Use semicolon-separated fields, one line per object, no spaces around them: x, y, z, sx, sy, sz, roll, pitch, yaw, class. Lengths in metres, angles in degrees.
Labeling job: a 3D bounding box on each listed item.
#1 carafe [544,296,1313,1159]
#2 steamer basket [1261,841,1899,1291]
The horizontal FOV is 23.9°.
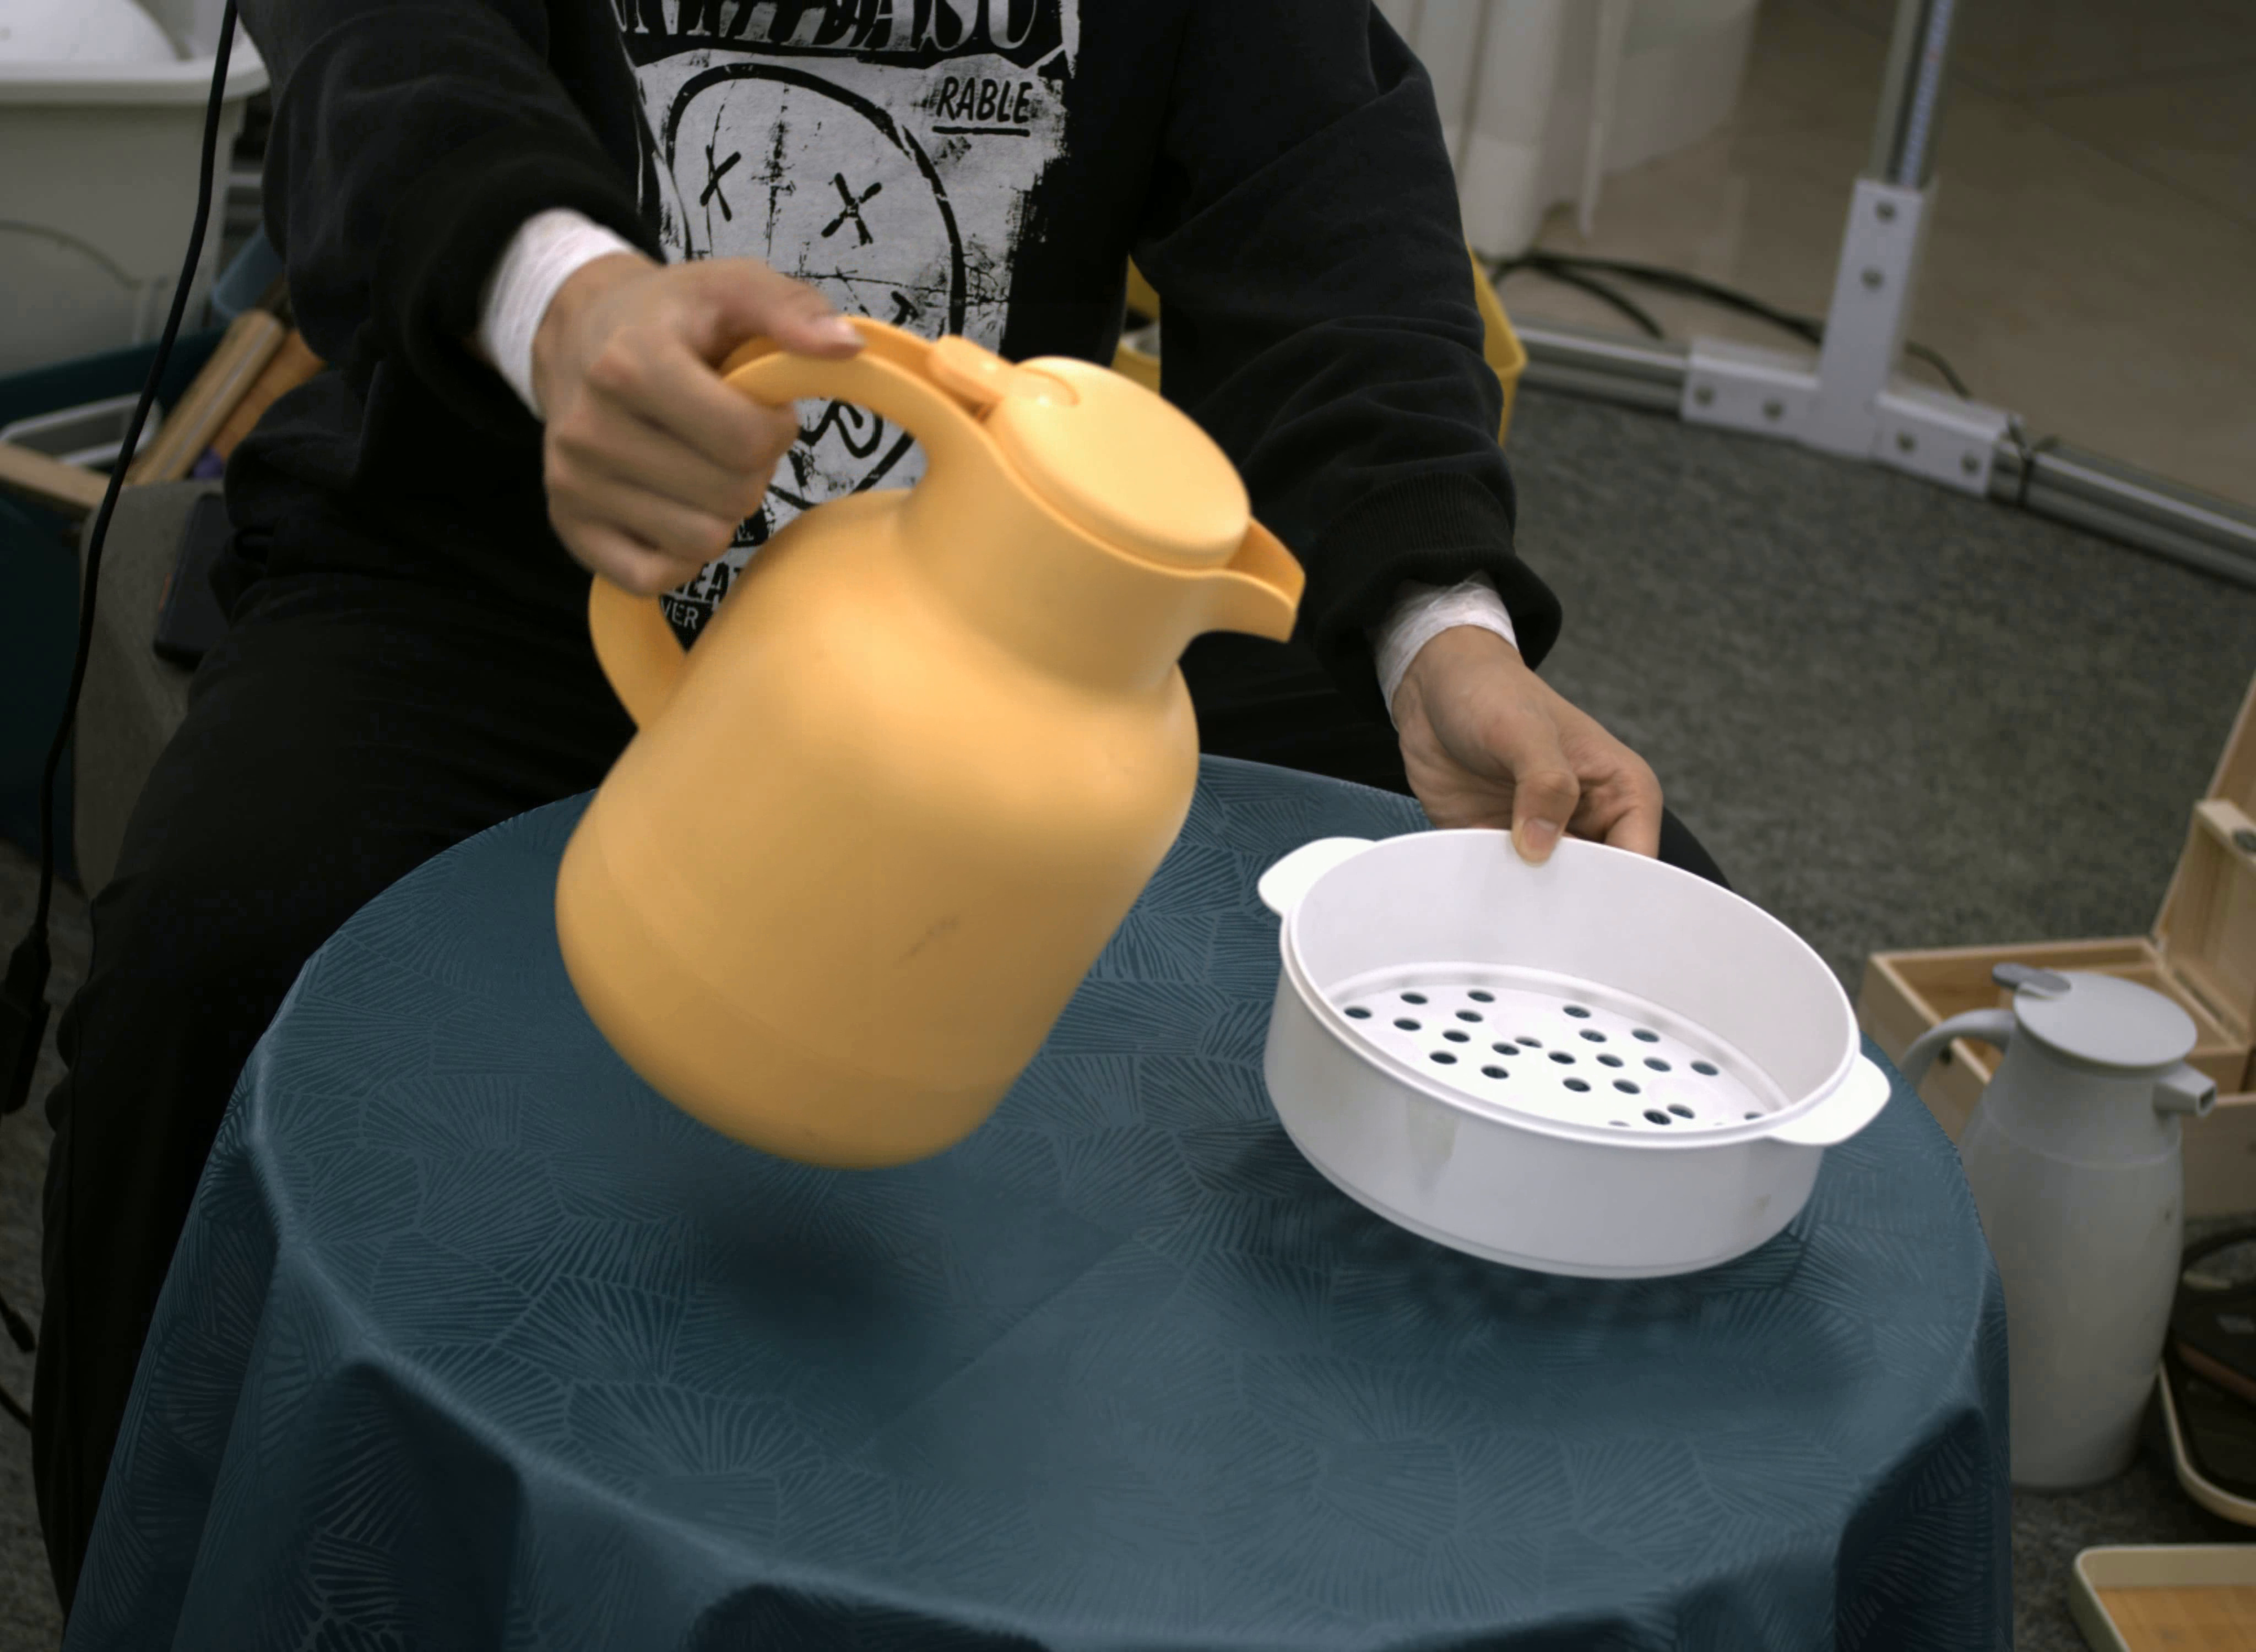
-0.077;-0.040;1.668;0.202;0.260;0.164;34;26;-7;carafe
0.147;0.082;1.812;0.232;0.069;0.201;24;31;24;steamer basket
